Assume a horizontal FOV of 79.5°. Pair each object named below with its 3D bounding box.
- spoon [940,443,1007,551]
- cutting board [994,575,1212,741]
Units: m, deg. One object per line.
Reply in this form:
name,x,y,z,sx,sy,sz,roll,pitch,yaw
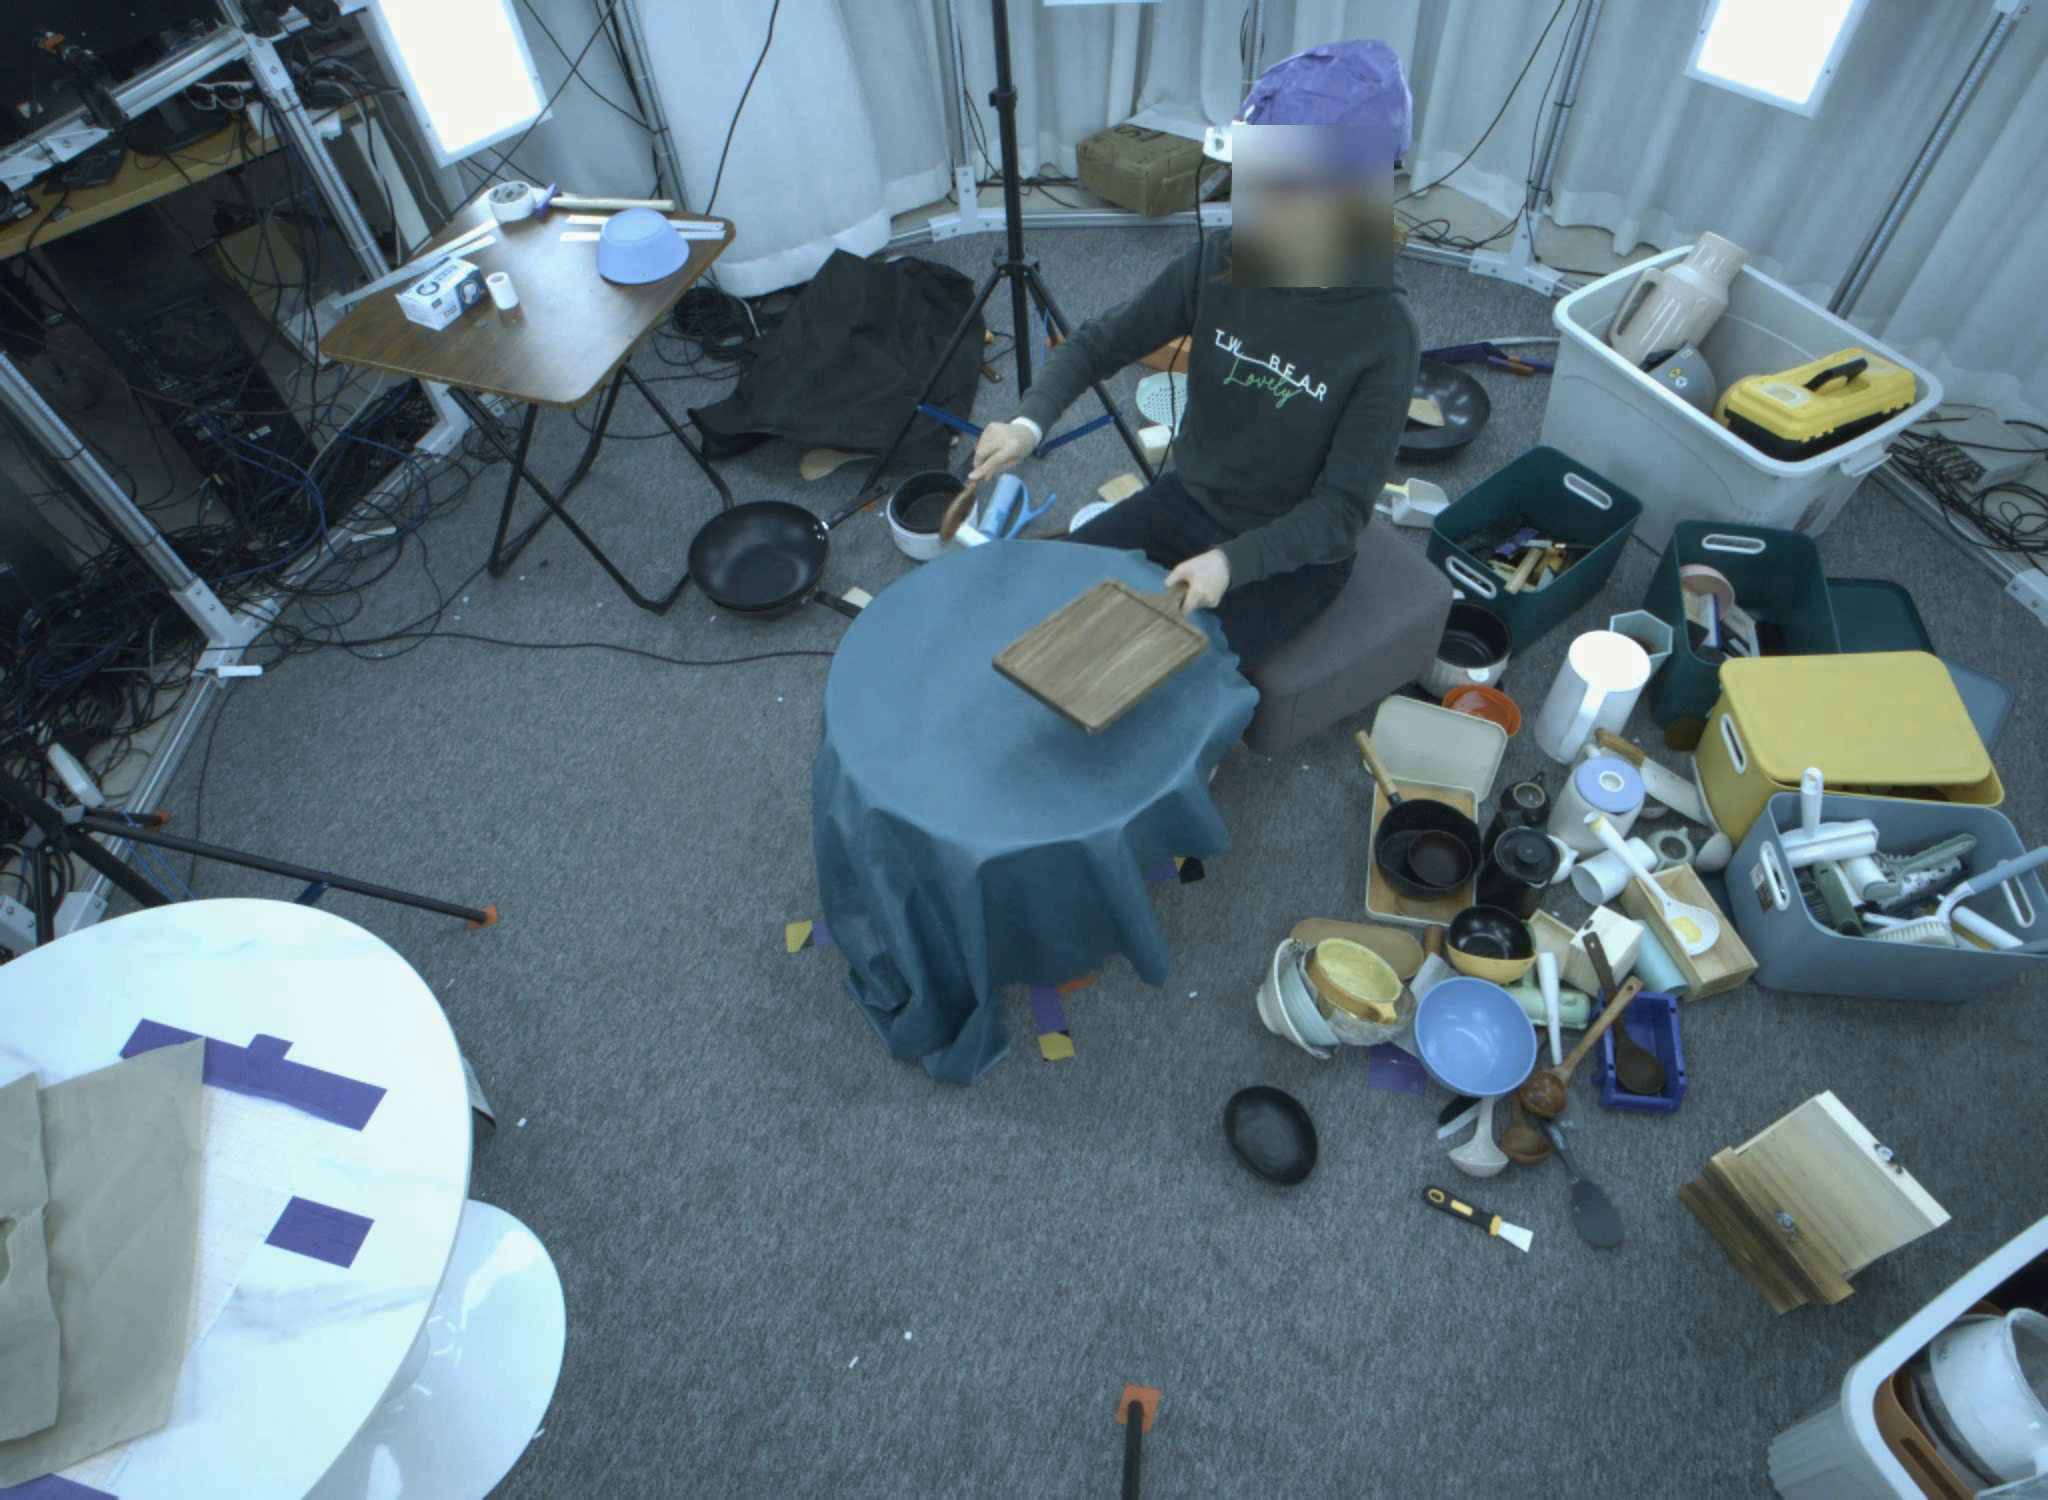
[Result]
spoon,-0.079,-0.383,1.820,0.017,0.076,0.216,23,62,10
cutting board,0.146,-0.156,1.748,0.197,0.023,0.355,36,56,27
